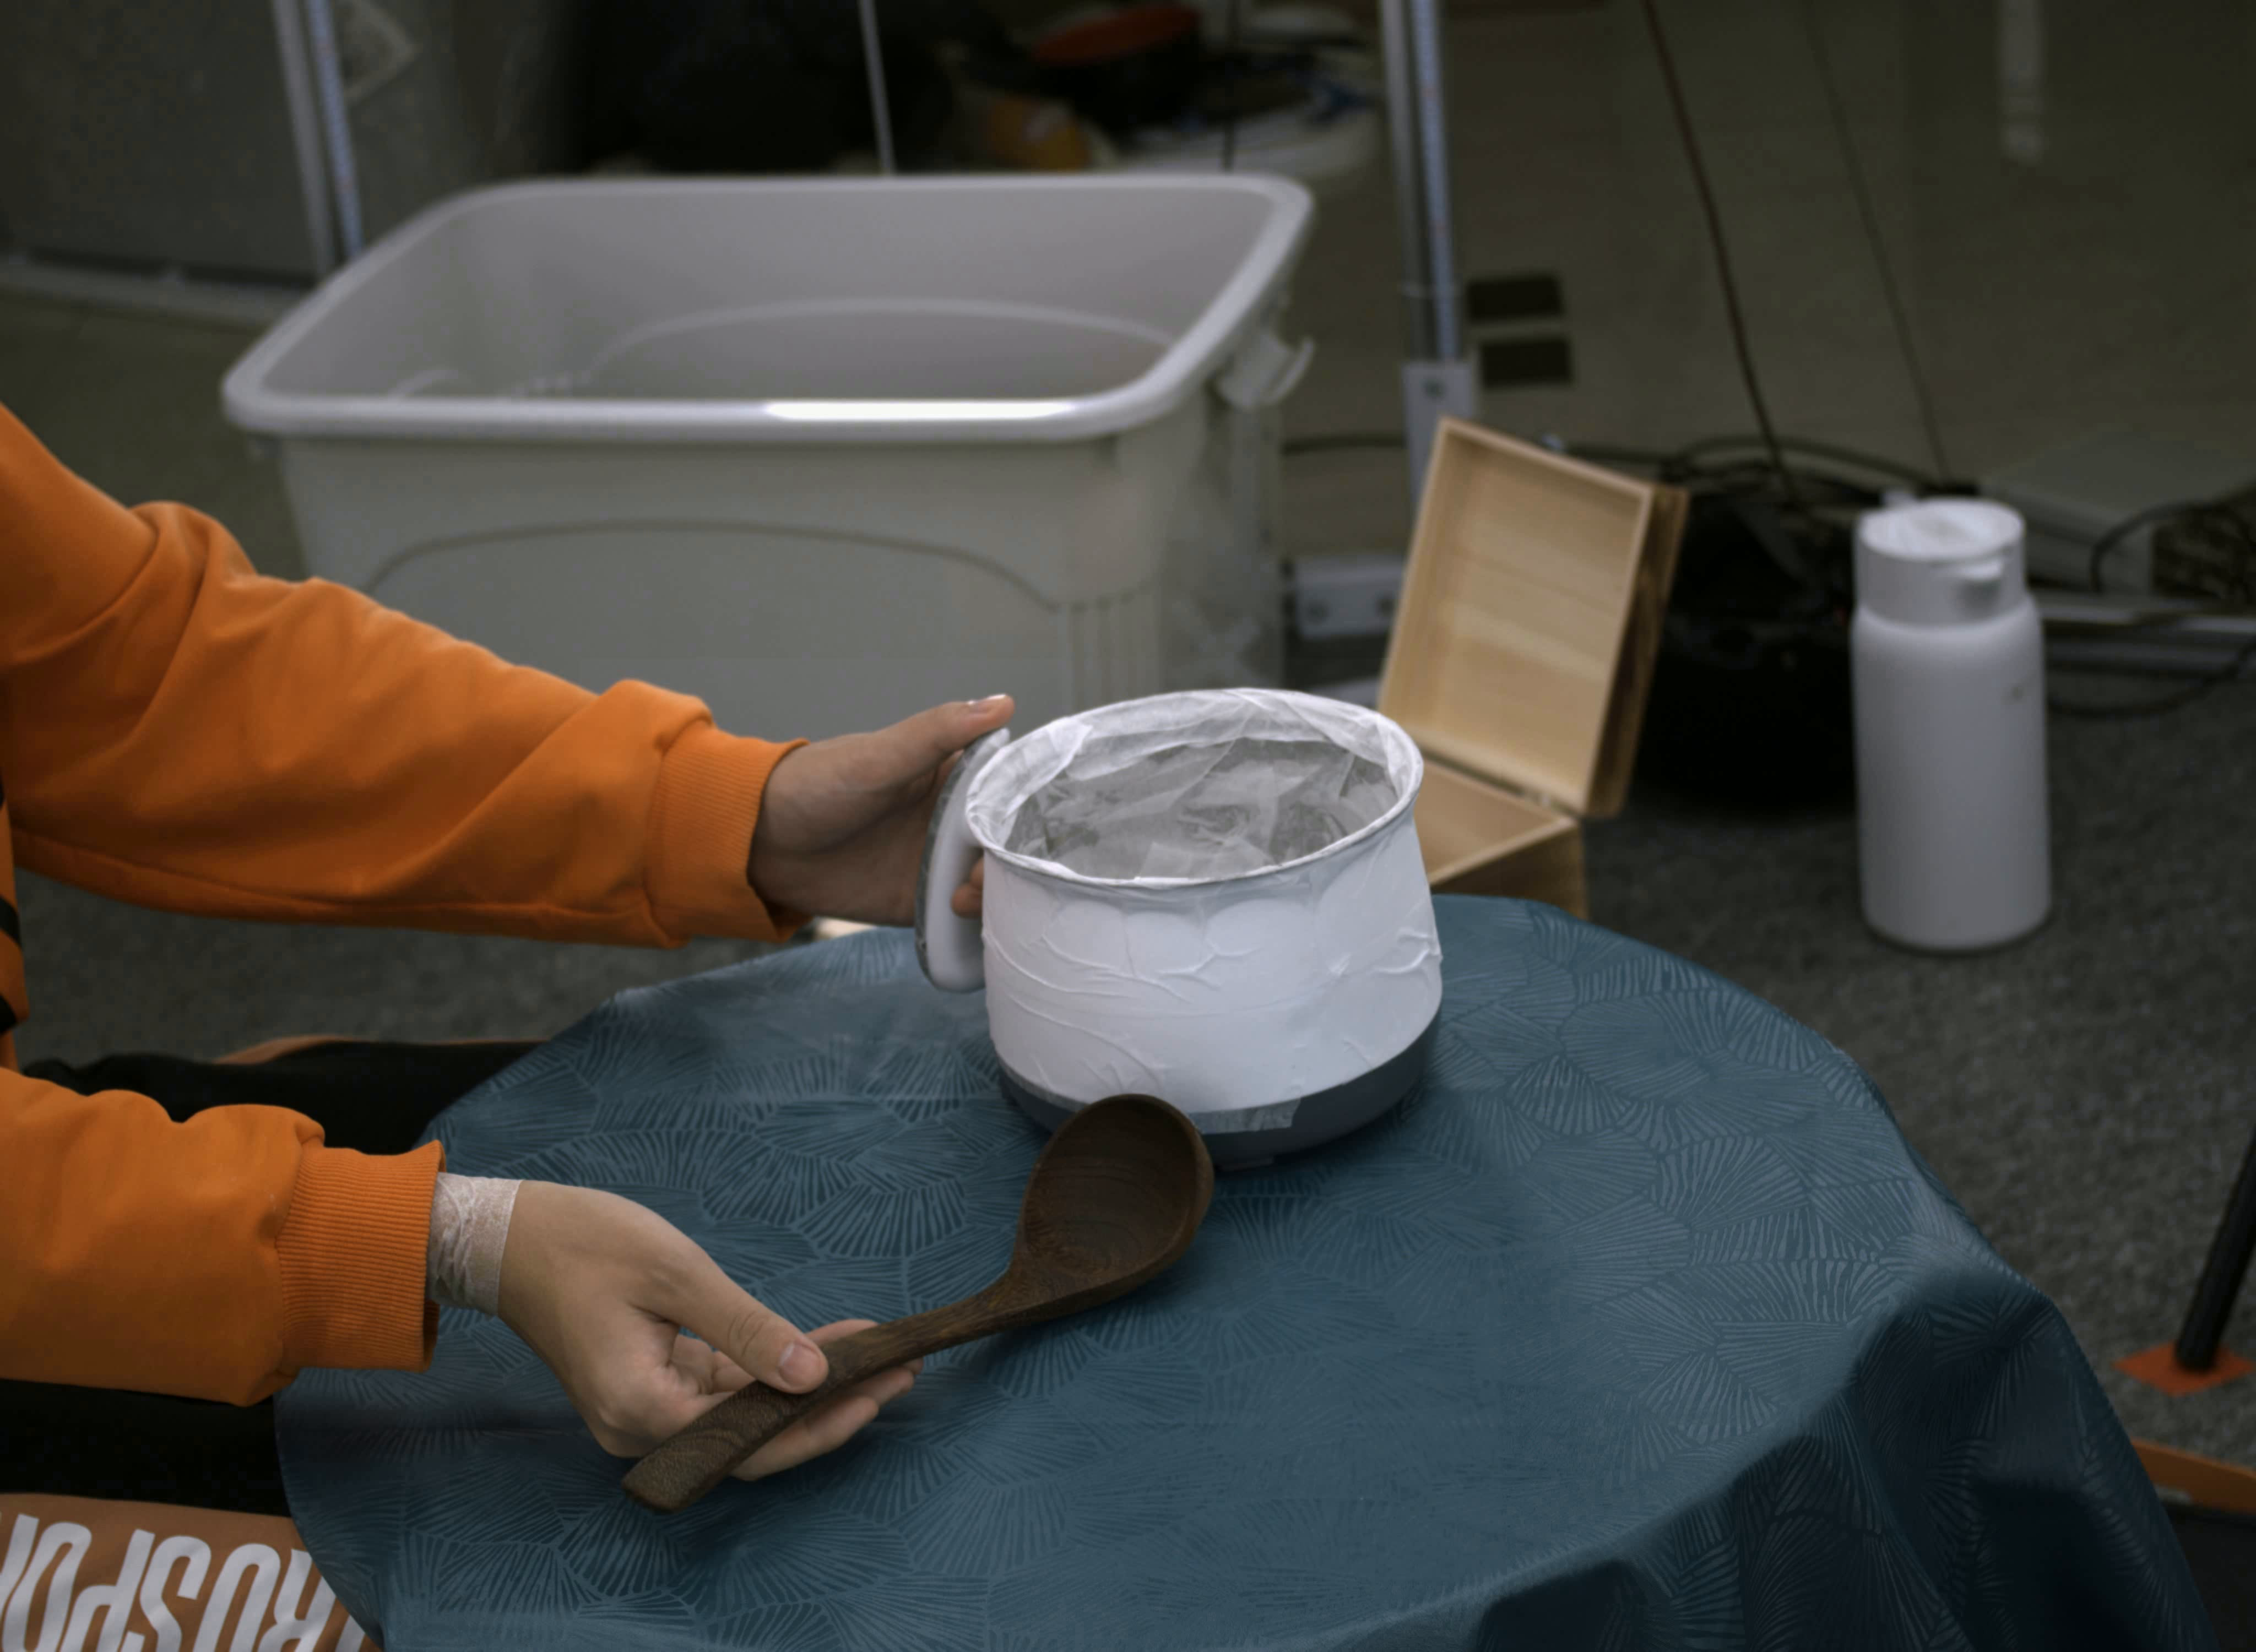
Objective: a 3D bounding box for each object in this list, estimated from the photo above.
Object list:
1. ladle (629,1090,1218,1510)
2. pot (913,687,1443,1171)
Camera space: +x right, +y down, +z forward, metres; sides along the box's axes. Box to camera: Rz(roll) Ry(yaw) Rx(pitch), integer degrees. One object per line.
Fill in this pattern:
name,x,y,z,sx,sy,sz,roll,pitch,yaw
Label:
ladle,-0.072,0.163,2.007,0.075,0.072,0.272,19,27,38
pot,0.009,0.035,2.201,0.232,0.139,0.177,13,31,35
